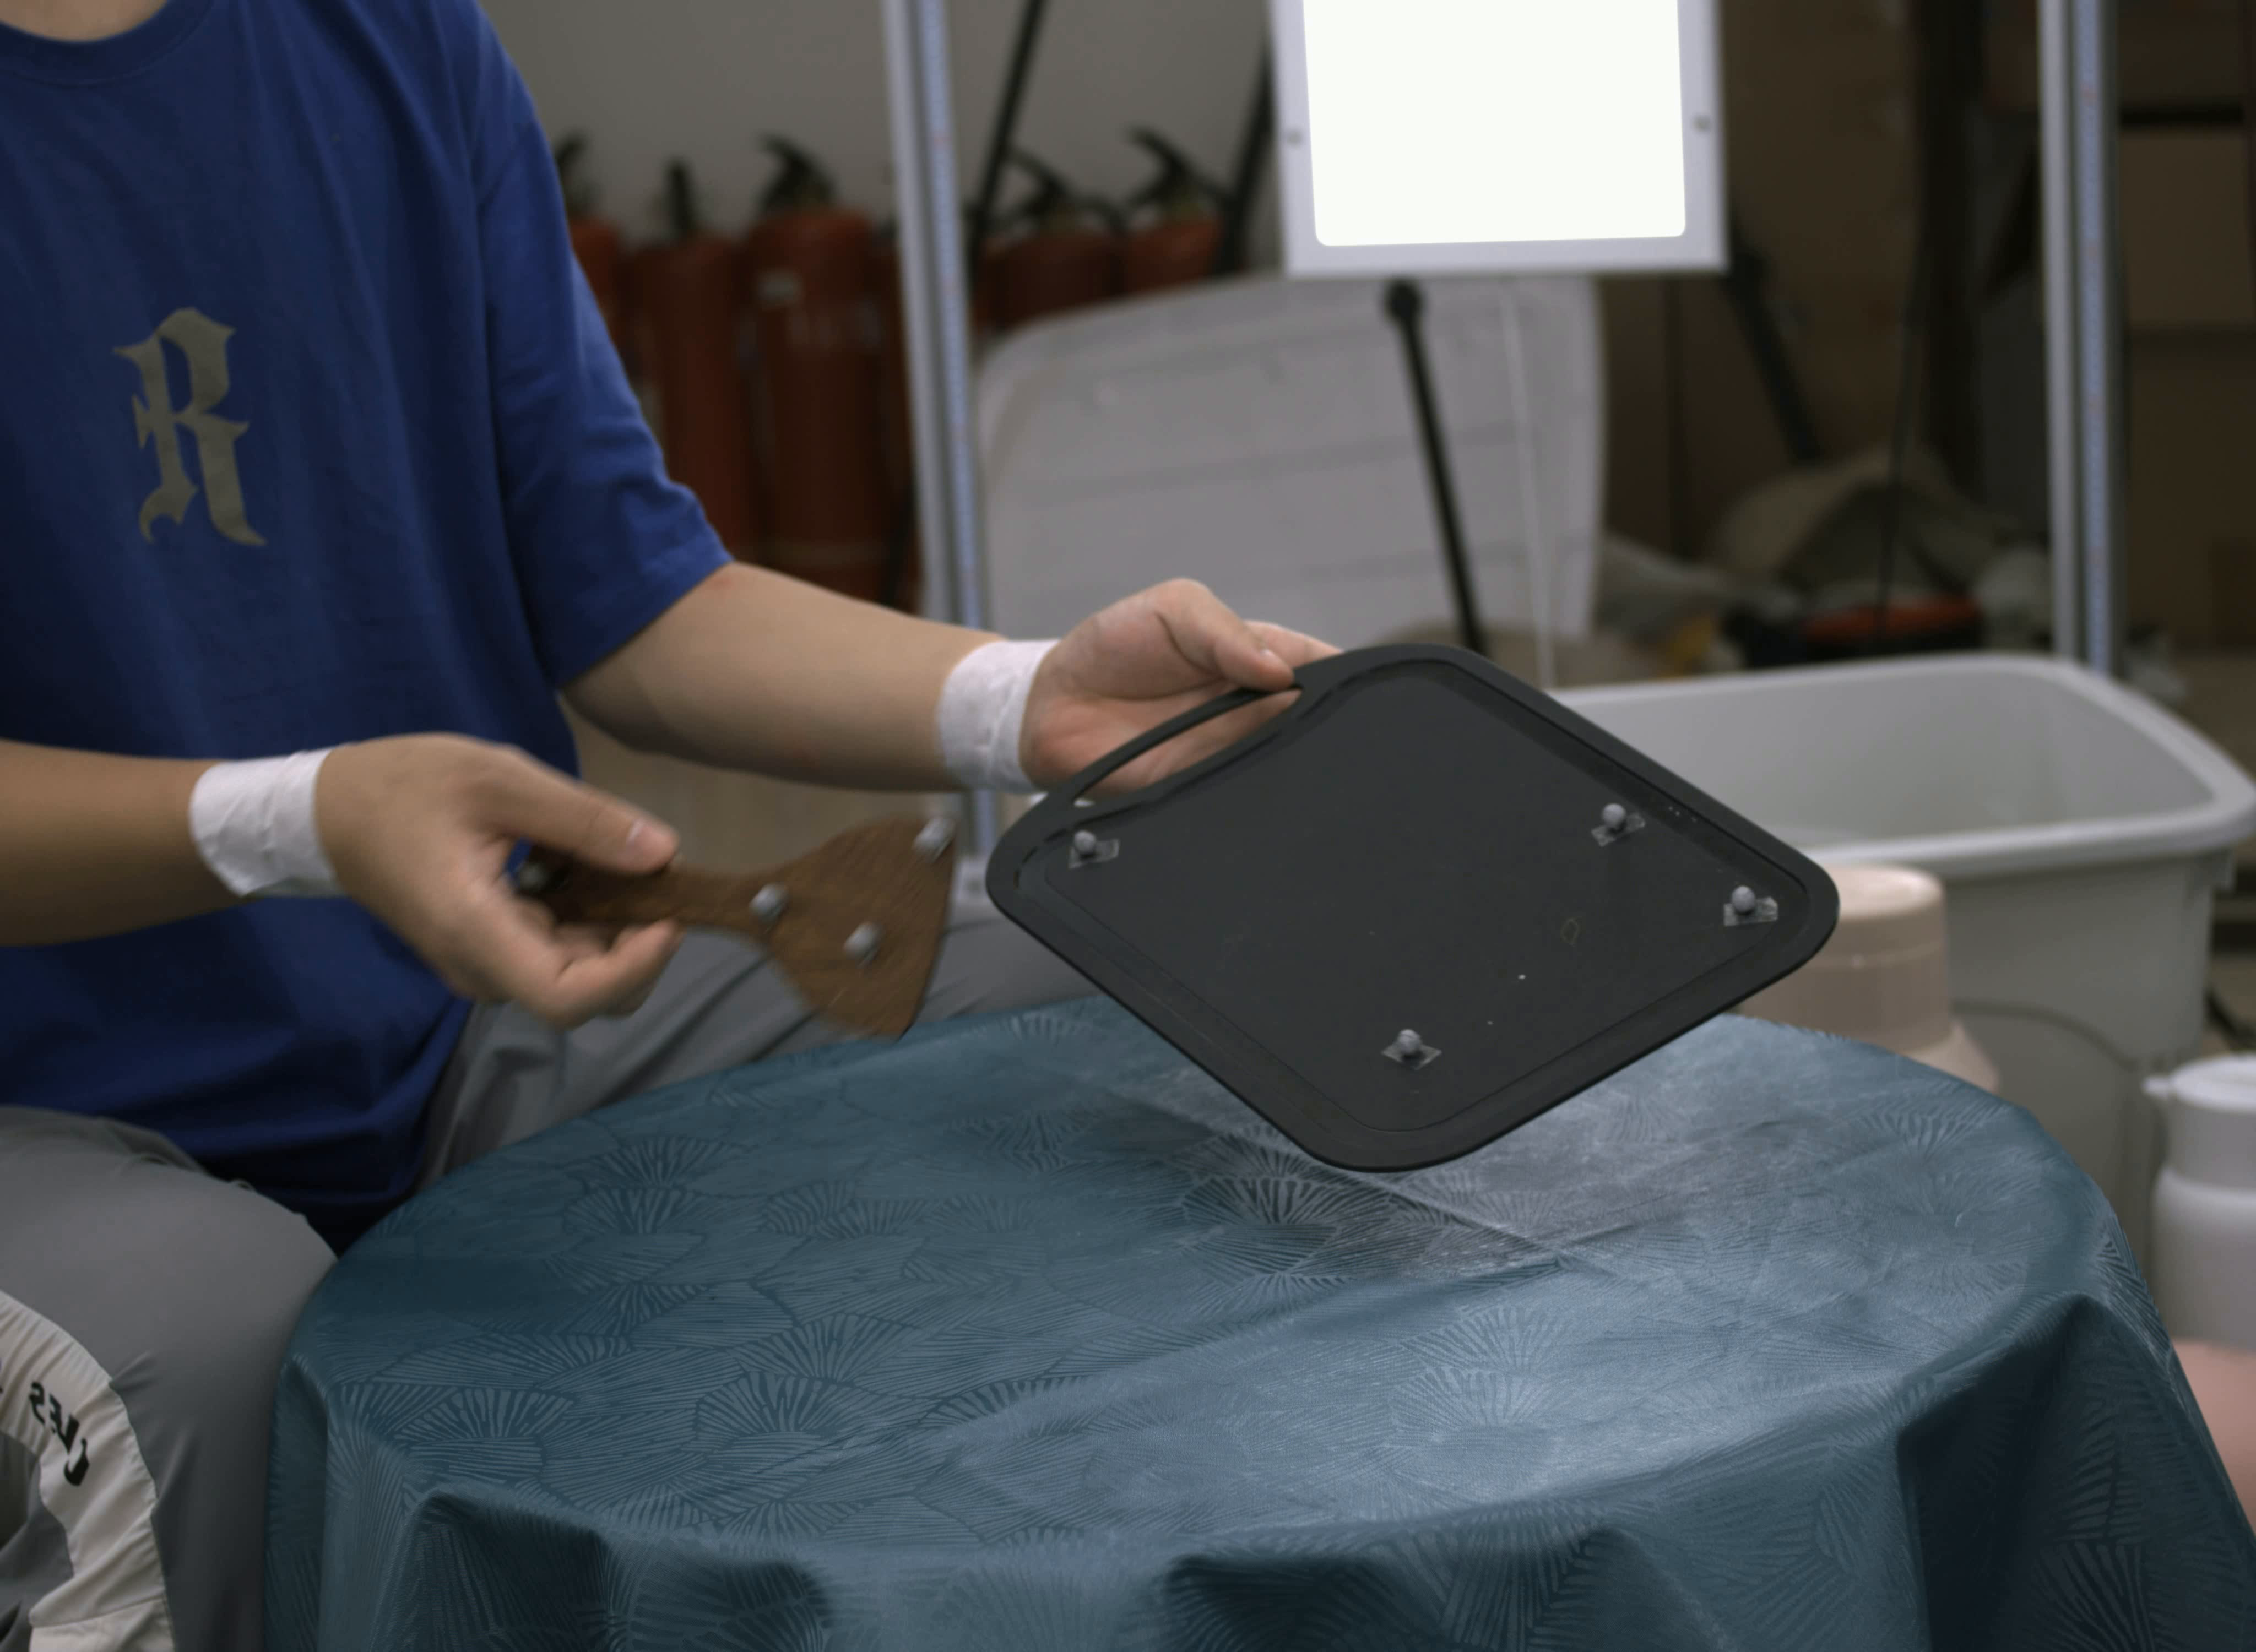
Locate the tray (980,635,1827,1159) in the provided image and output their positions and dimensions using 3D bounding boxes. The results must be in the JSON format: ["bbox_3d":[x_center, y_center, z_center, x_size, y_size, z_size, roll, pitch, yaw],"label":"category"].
[{"bbox_3d":[0.086,0.015,1.922,0.208,0.010,0.330,-29,32,-16],"label":"tray"}]

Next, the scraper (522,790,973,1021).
[{"bbox_3d":[-0.129,0.019,1.825,0.216,0.076,0.010,6,-11,44],"label":"scraper"}]
